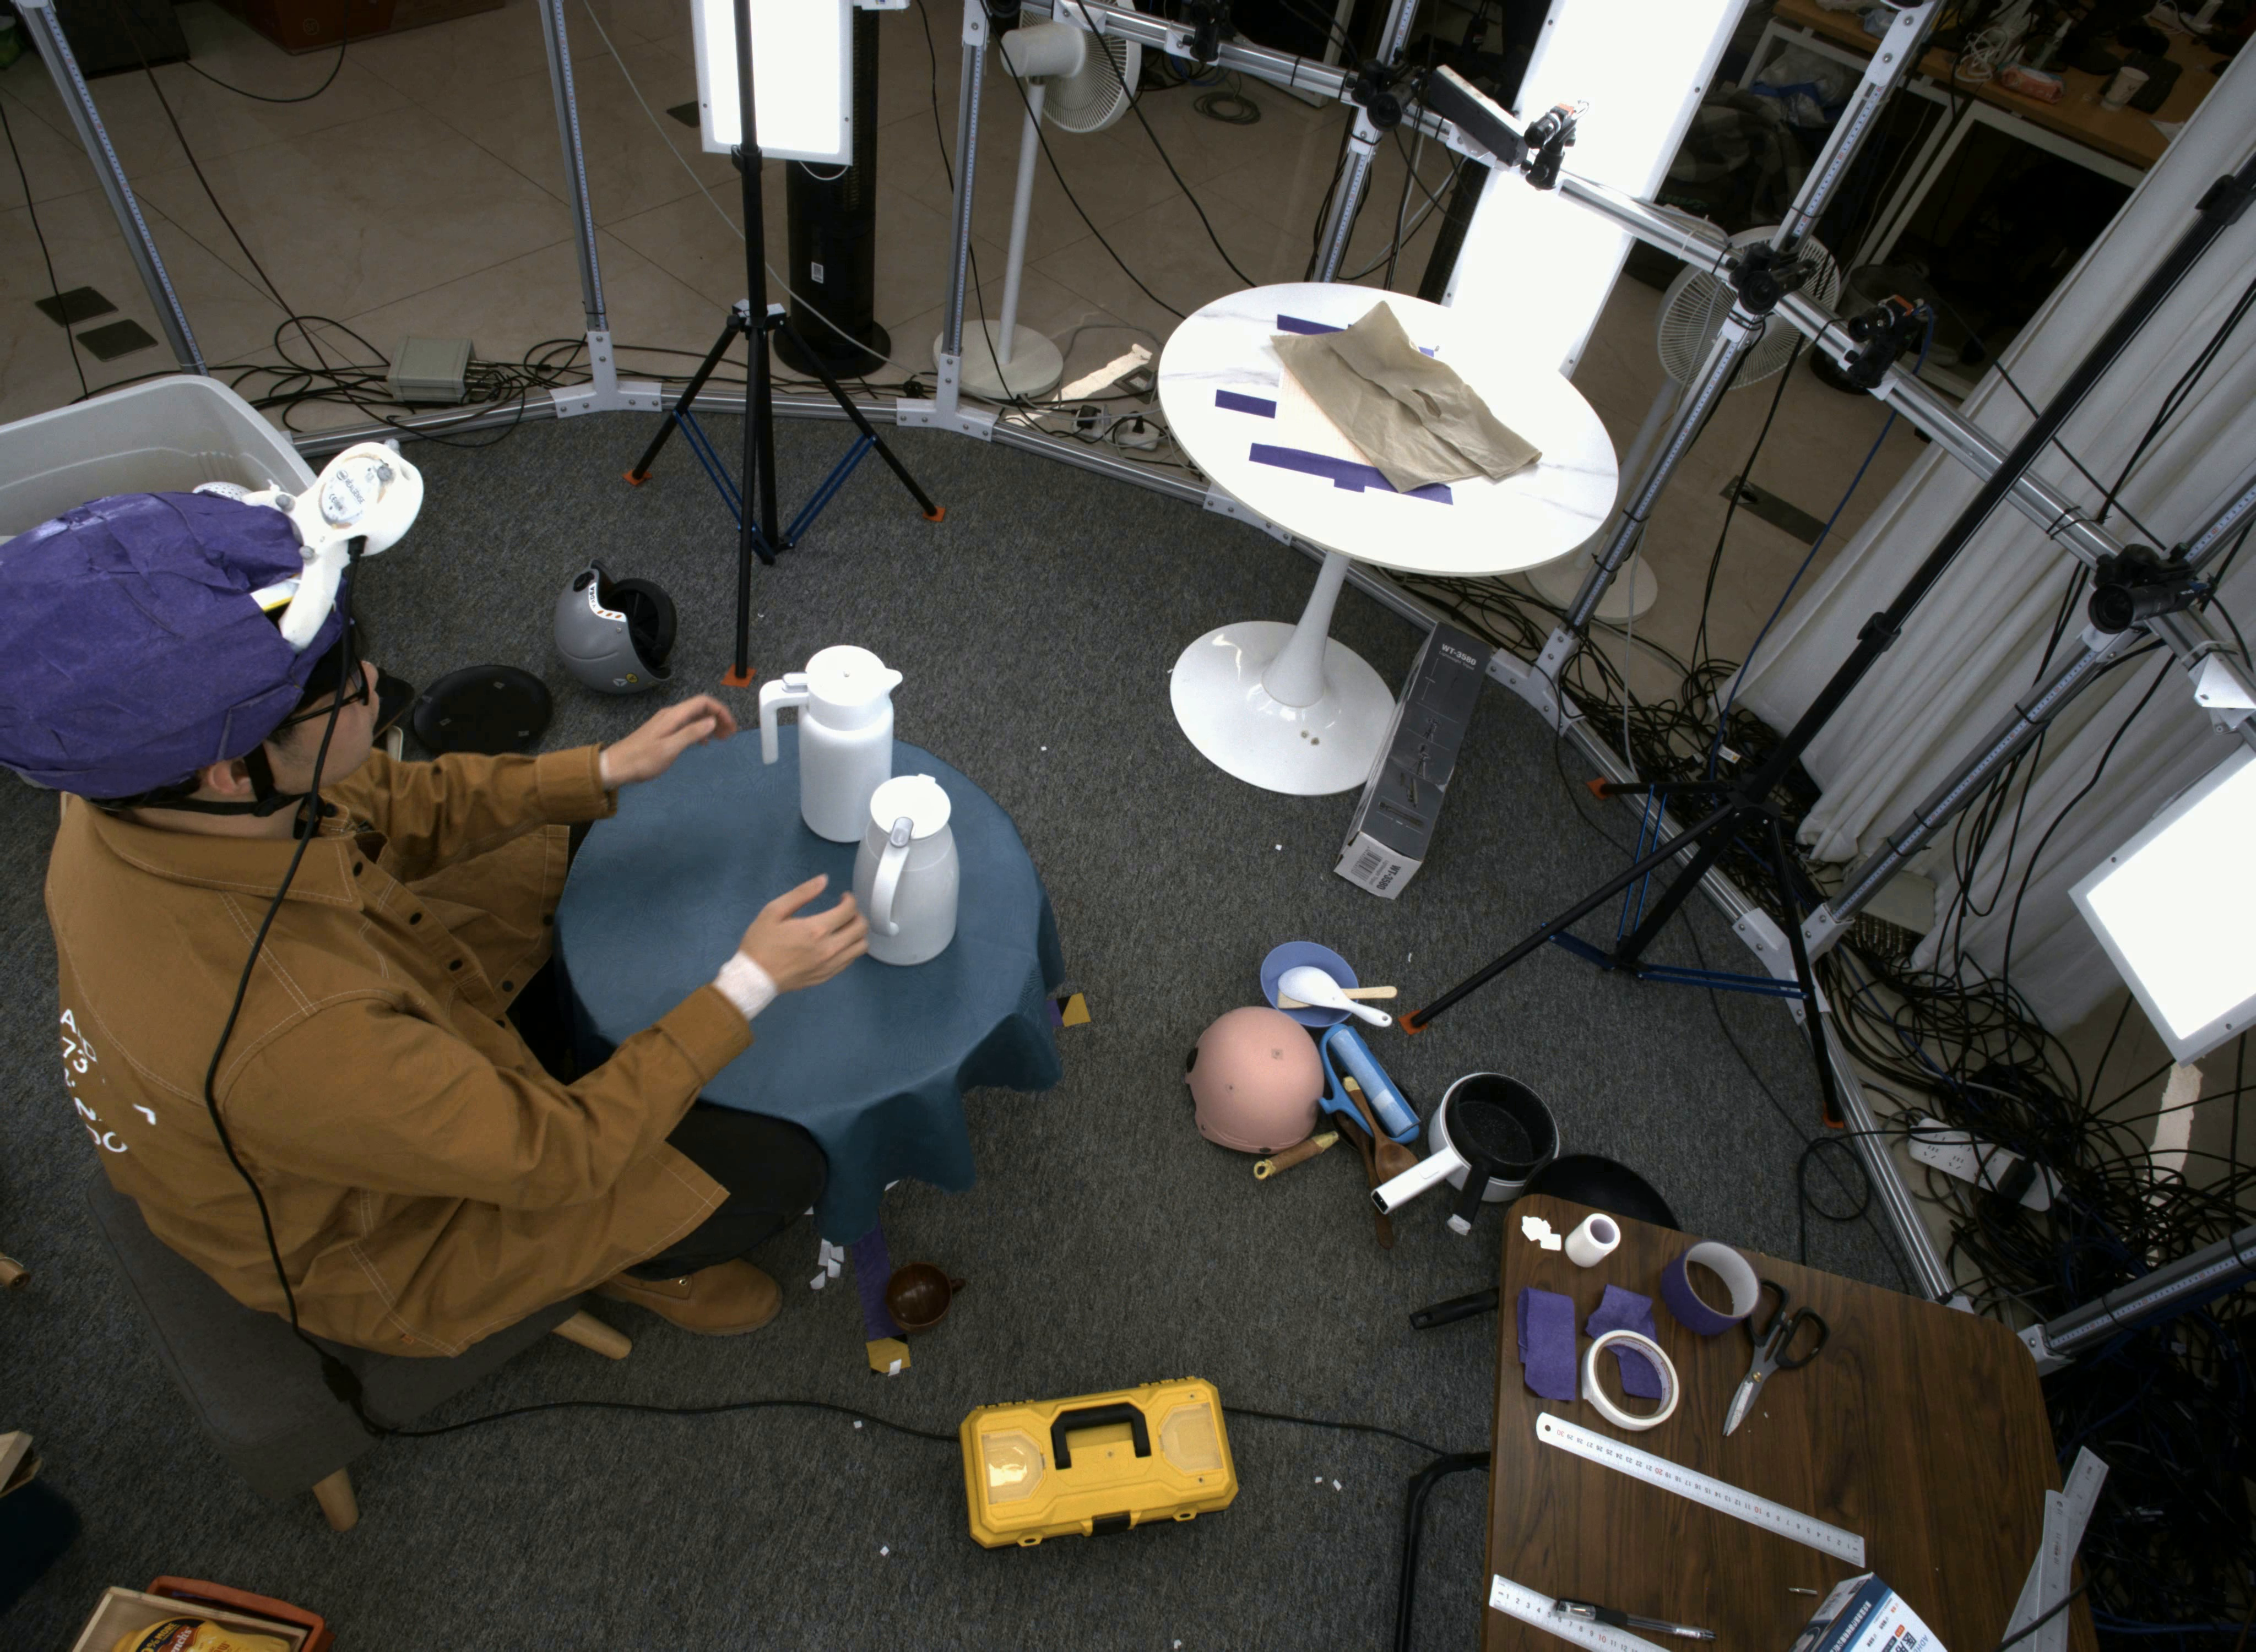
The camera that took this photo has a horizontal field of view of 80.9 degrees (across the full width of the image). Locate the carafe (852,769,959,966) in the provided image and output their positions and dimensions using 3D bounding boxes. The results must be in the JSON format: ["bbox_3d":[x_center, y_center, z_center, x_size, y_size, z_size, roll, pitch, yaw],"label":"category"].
[{"bbox_3d":[-0.270,0.059,1.556,0.131,0.254,0.165,15,52,0],"label":"carafe"}]

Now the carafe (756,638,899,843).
[{"bbox_3d":[-0.377,-0.102,1.637,0.173,0.274,0.121,-8,56,-17],"label":"carafe"}]
